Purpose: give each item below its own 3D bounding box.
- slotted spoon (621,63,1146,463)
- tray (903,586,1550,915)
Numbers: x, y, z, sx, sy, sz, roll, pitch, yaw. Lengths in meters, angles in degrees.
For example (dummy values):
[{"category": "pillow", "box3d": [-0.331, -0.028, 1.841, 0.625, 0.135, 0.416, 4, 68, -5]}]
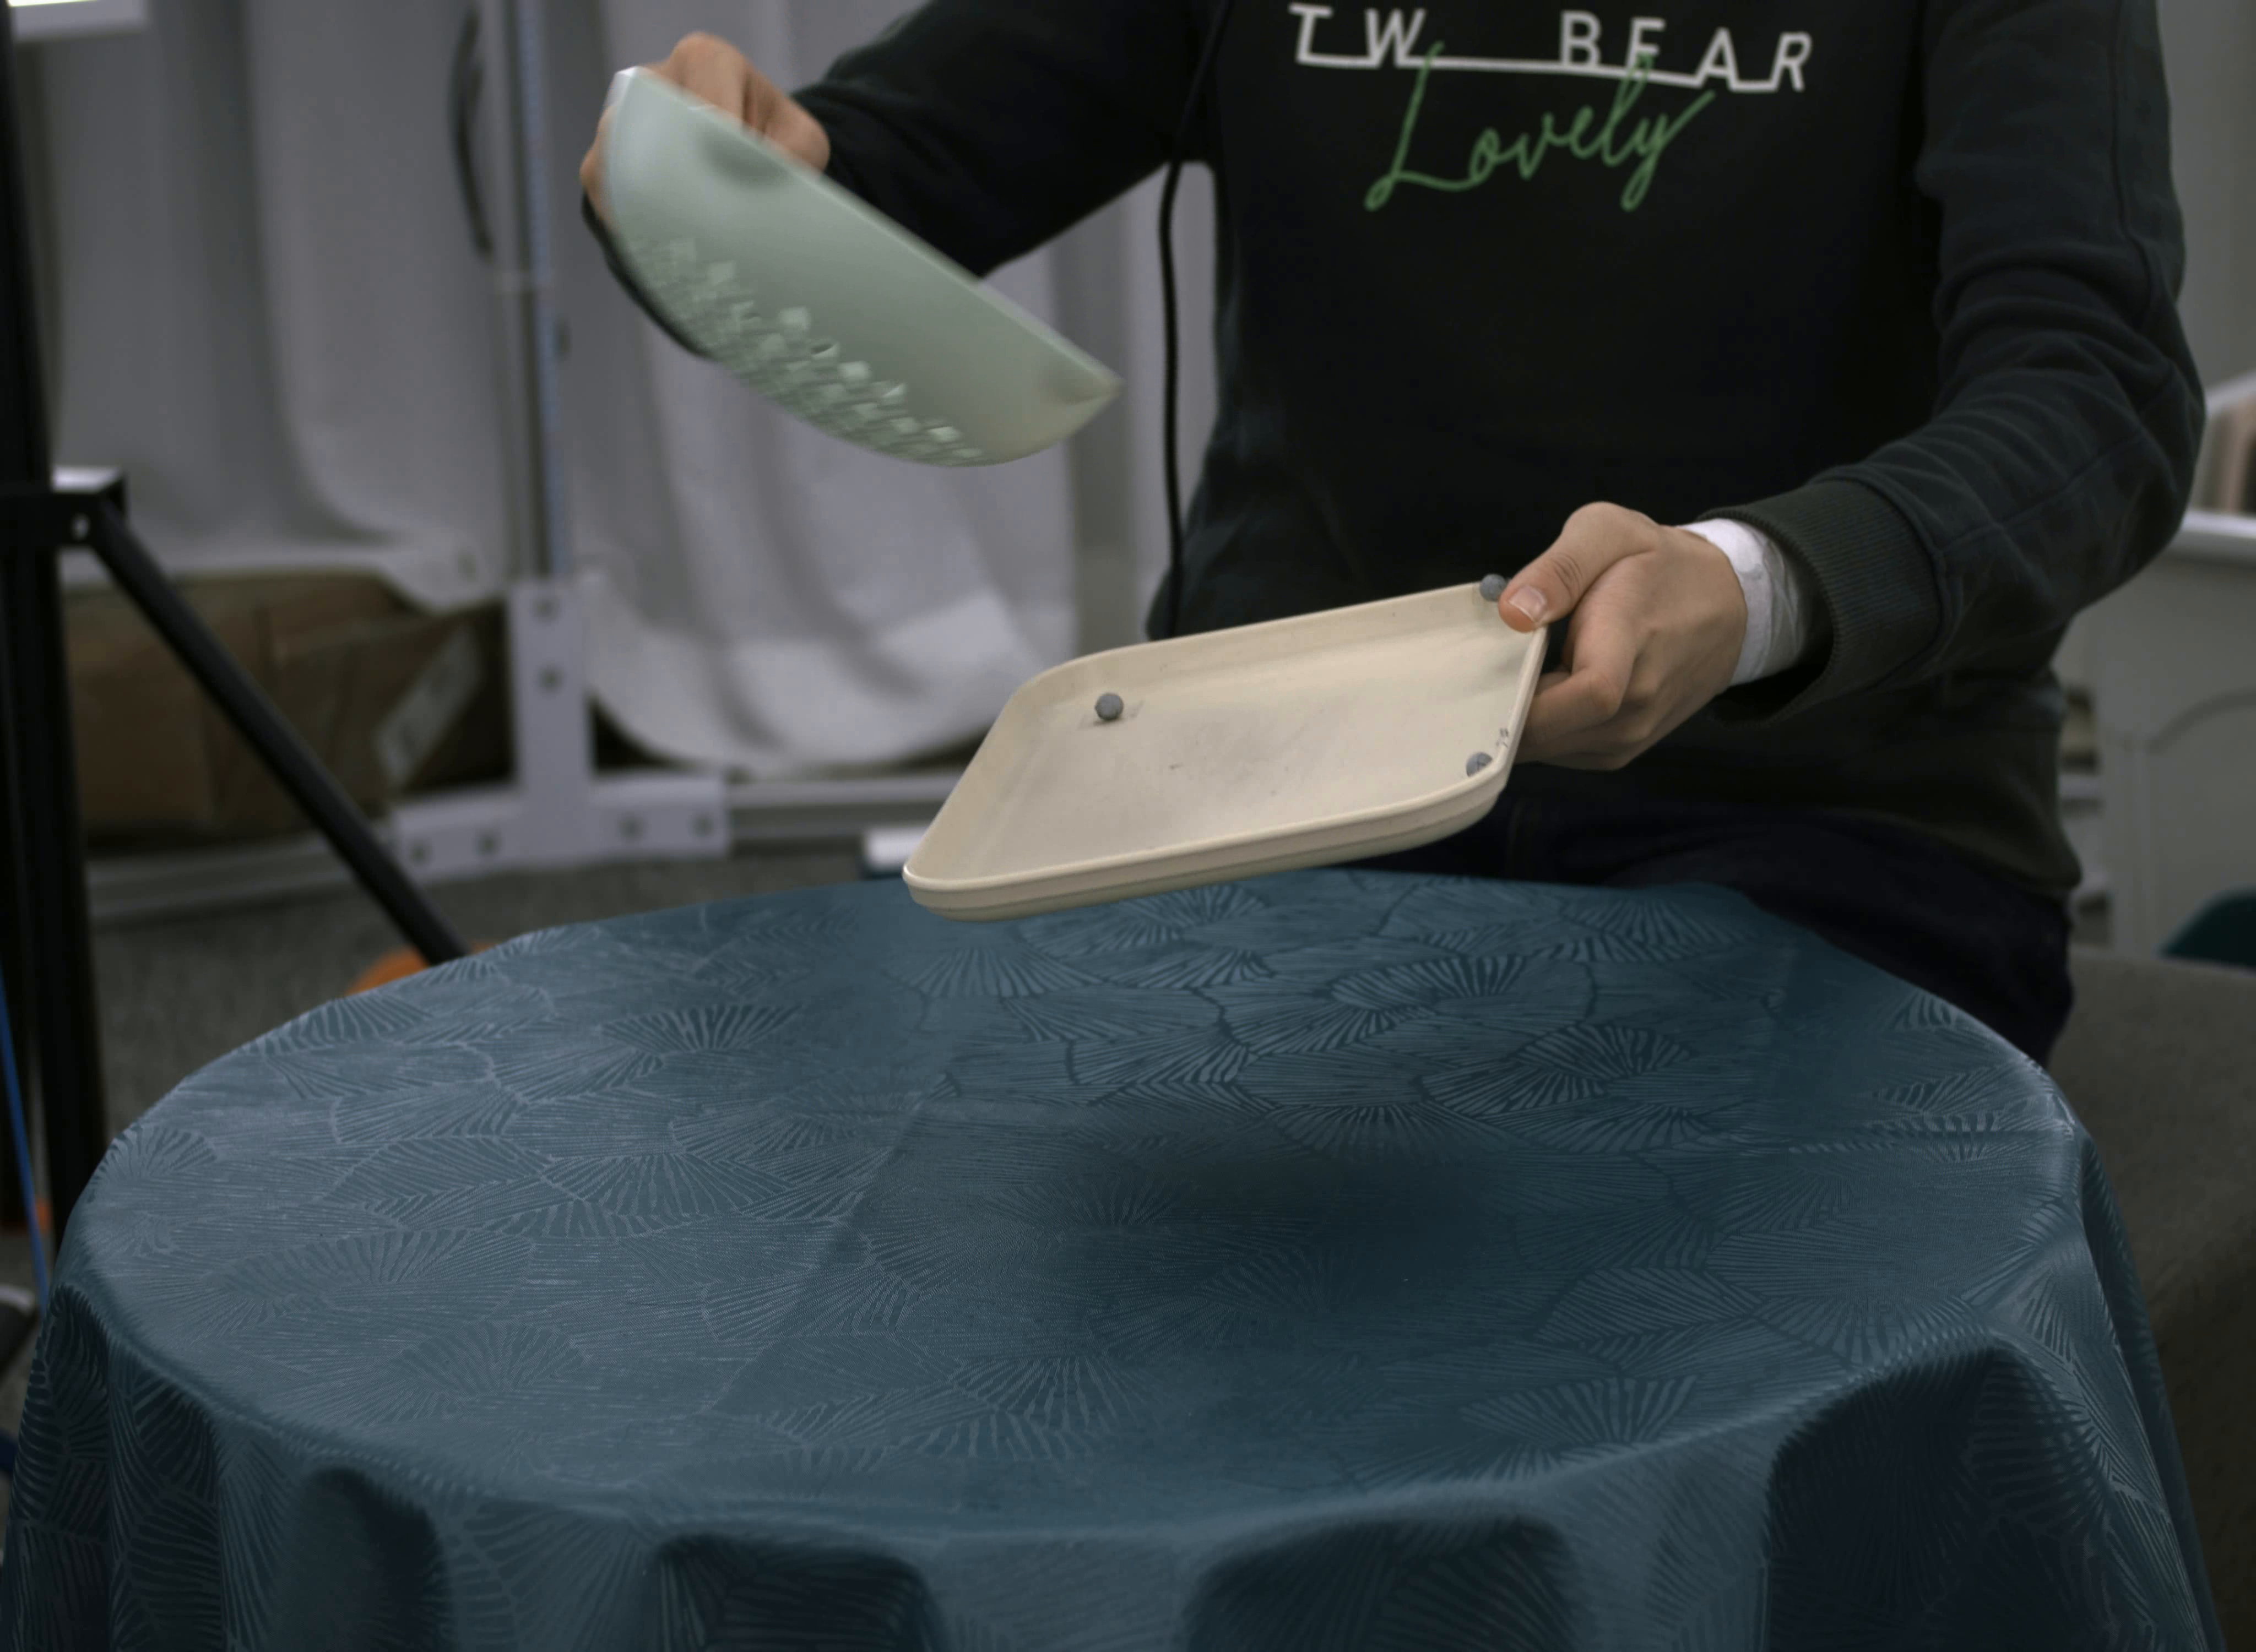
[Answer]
[{"category": "slotted spoon", "box3d": [-0.102, -0.179, 1.629, 0.166, 0.075, 0.363, 34, 7, -19]}, {"category": "tray", "box3d": [0.034, -0.022, 1.522, 0.172, 0.017, 0.239, -10, 14, 12]}]
